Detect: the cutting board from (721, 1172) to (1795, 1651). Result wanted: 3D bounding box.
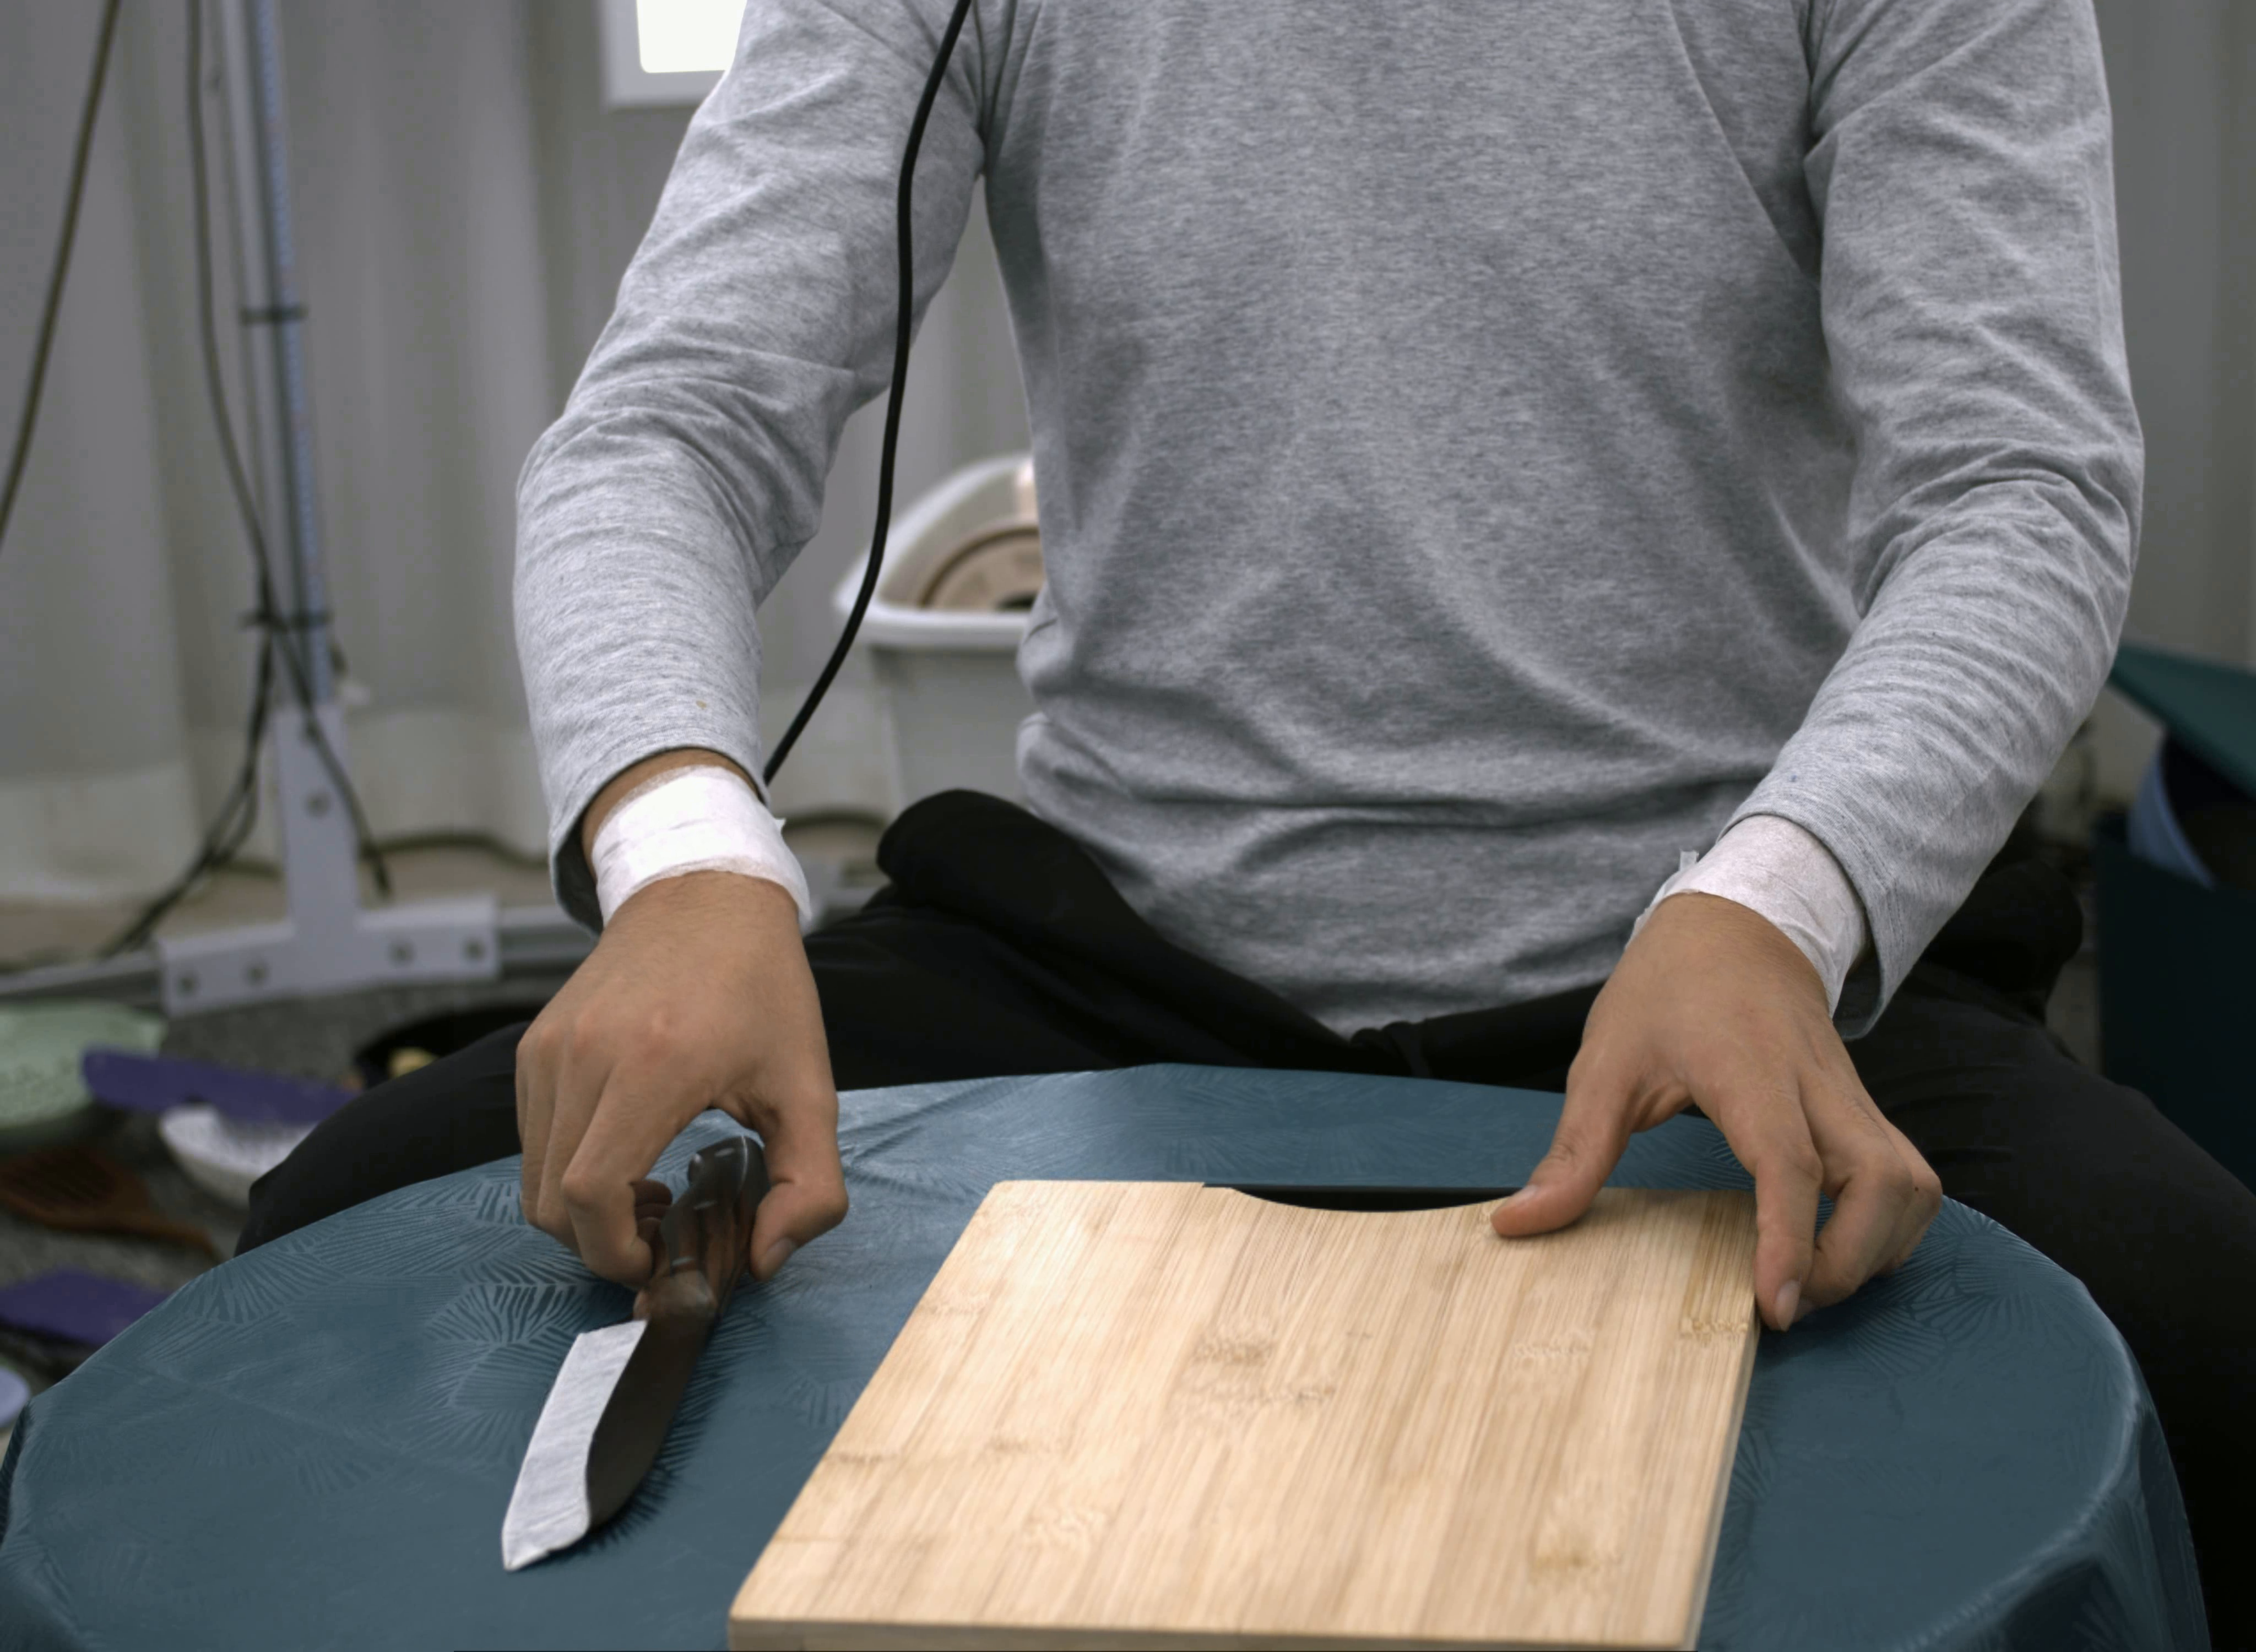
[{"bbox_3d":[0.049,0.161,1.503,0.250,0.023,0.350,0,15,10],"label":"cutting board"}]

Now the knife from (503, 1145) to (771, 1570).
[{"bbox_3d":[-0.139,0.152,1.573,0.050,0.020,0.291,-13,15,11],"label":"knife"}]
